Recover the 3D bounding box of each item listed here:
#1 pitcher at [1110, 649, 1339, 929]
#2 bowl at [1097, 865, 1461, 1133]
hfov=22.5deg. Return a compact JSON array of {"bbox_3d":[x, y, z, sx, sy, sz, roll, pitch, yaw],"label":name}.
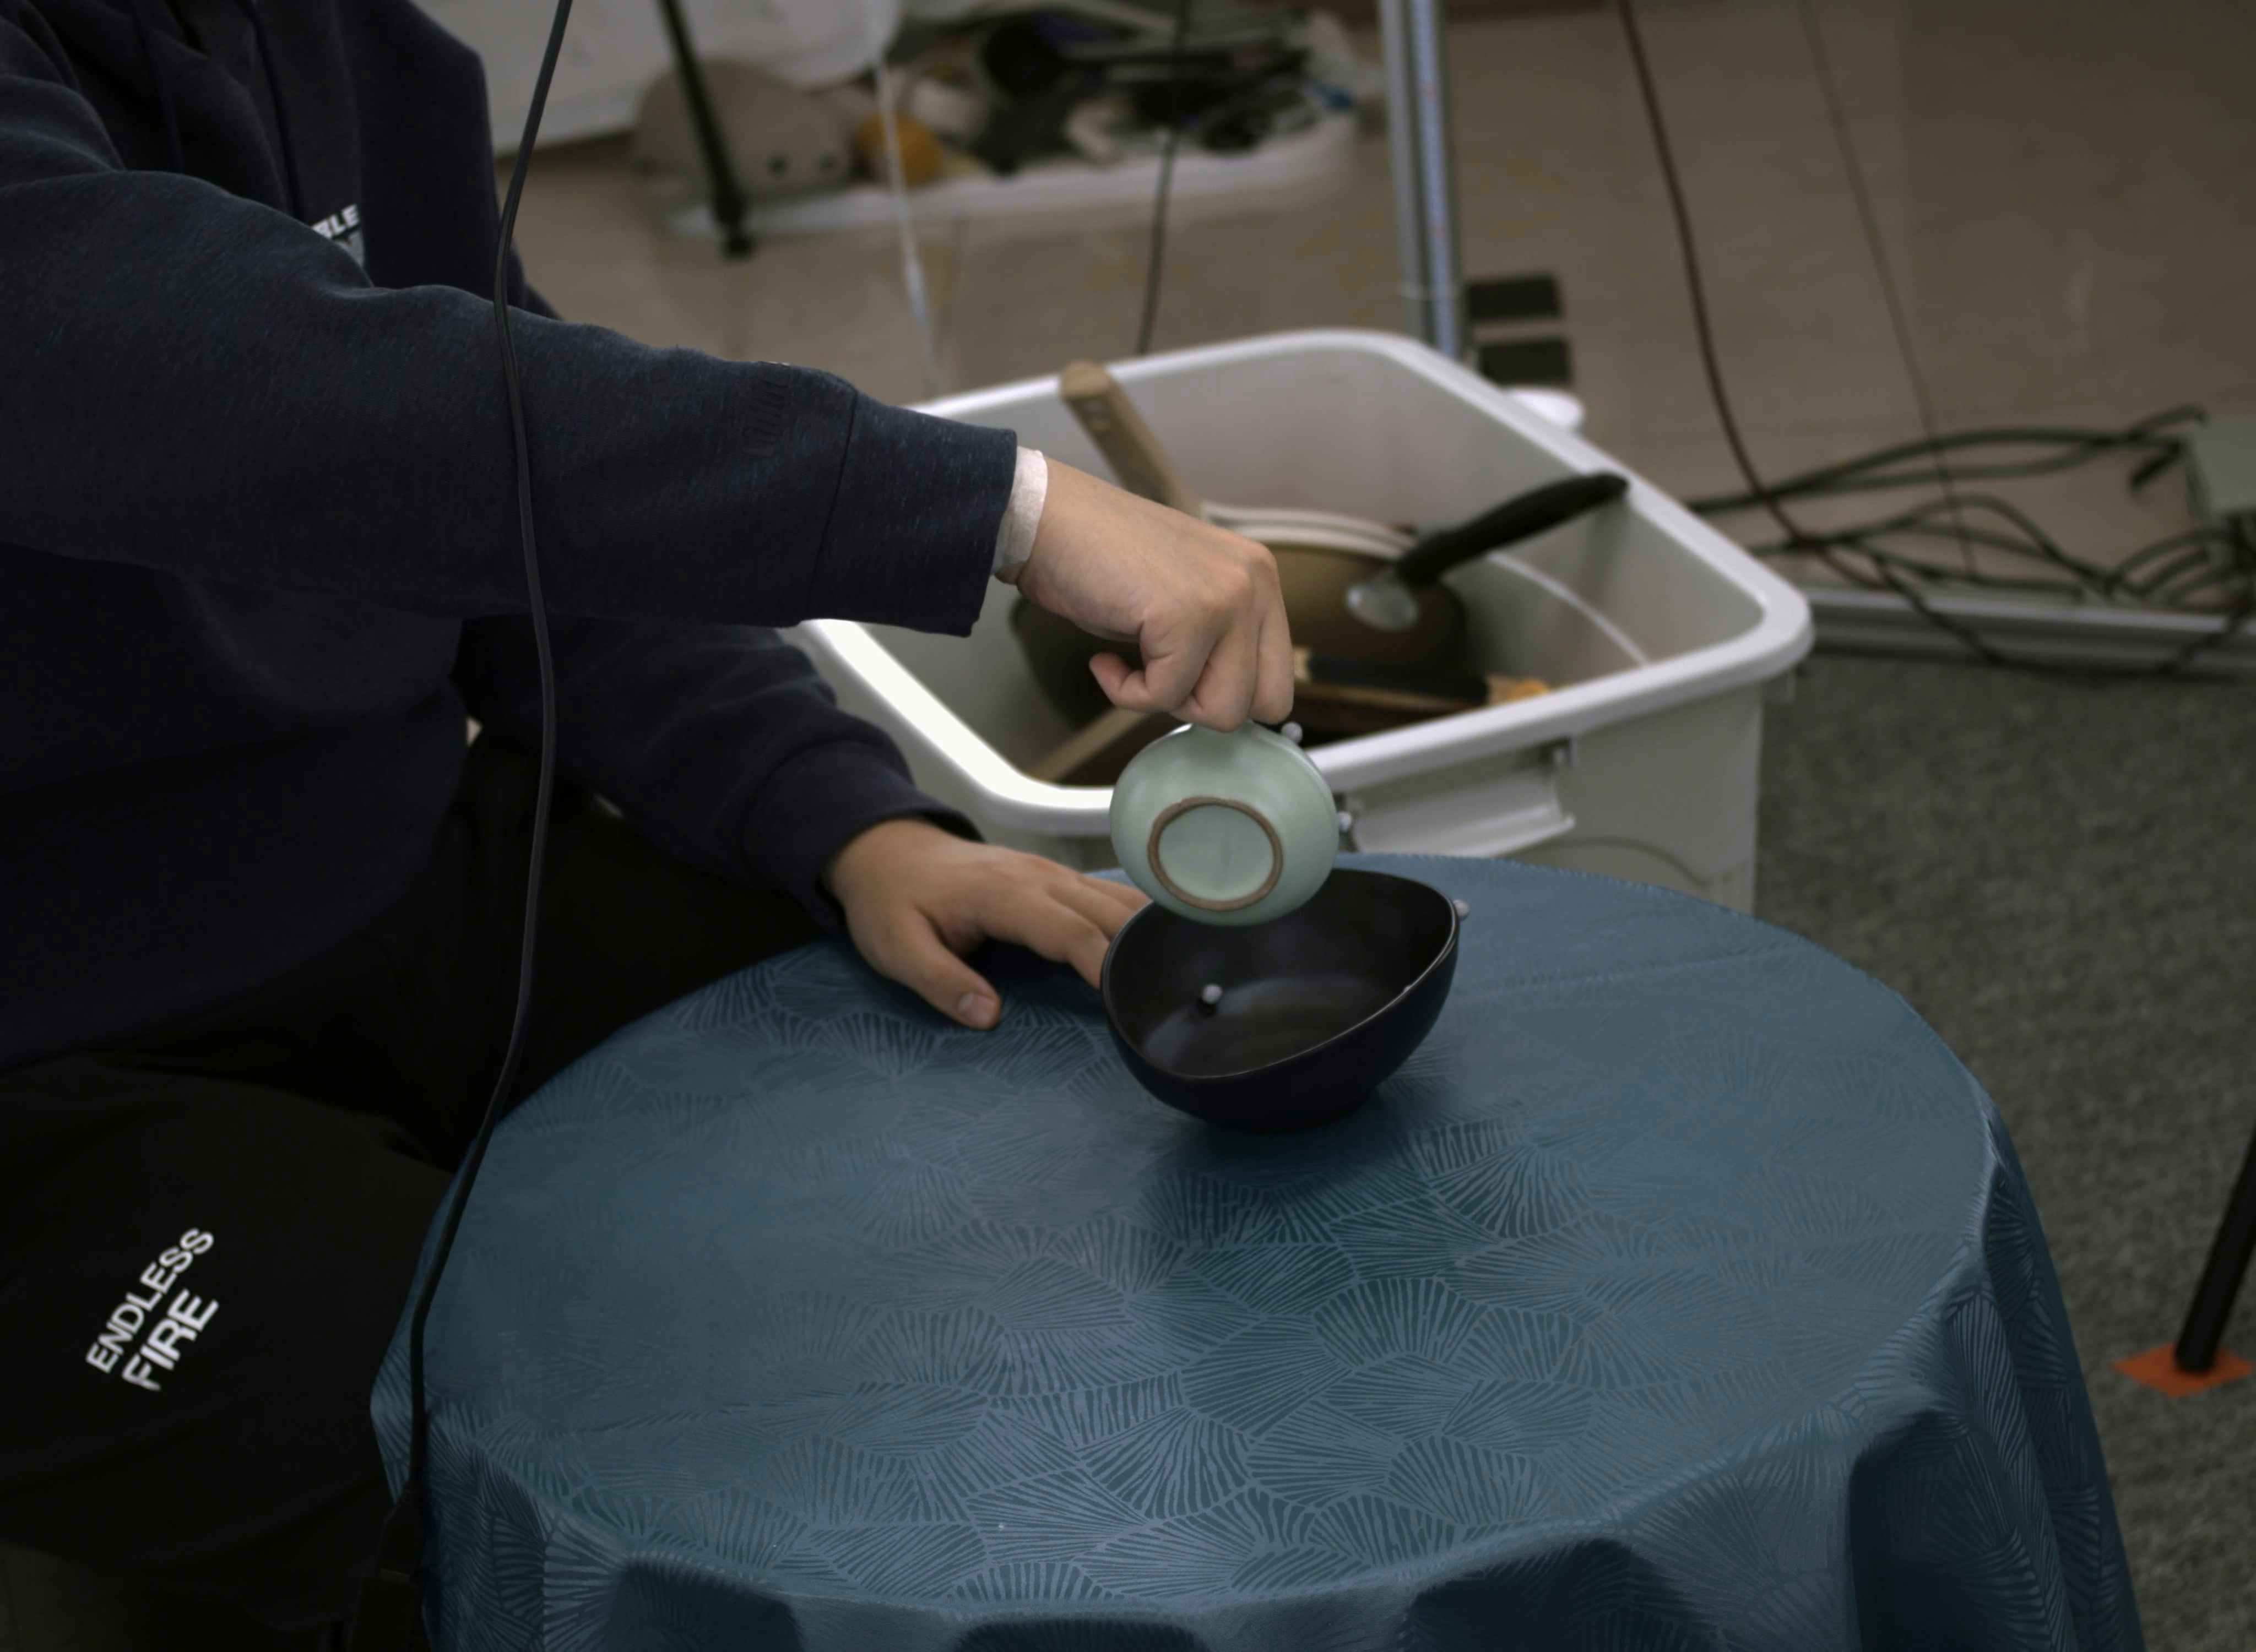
[{"bbox_3d":[0.037,-0.012,2.101,0.086,0.110,0.059,4,35,7],"label":"pitcher"},{"bbox_3d":[0.061,0.075,2.197,0.137,0.068,0.168,3,27,21],"label":"bowl"}]
